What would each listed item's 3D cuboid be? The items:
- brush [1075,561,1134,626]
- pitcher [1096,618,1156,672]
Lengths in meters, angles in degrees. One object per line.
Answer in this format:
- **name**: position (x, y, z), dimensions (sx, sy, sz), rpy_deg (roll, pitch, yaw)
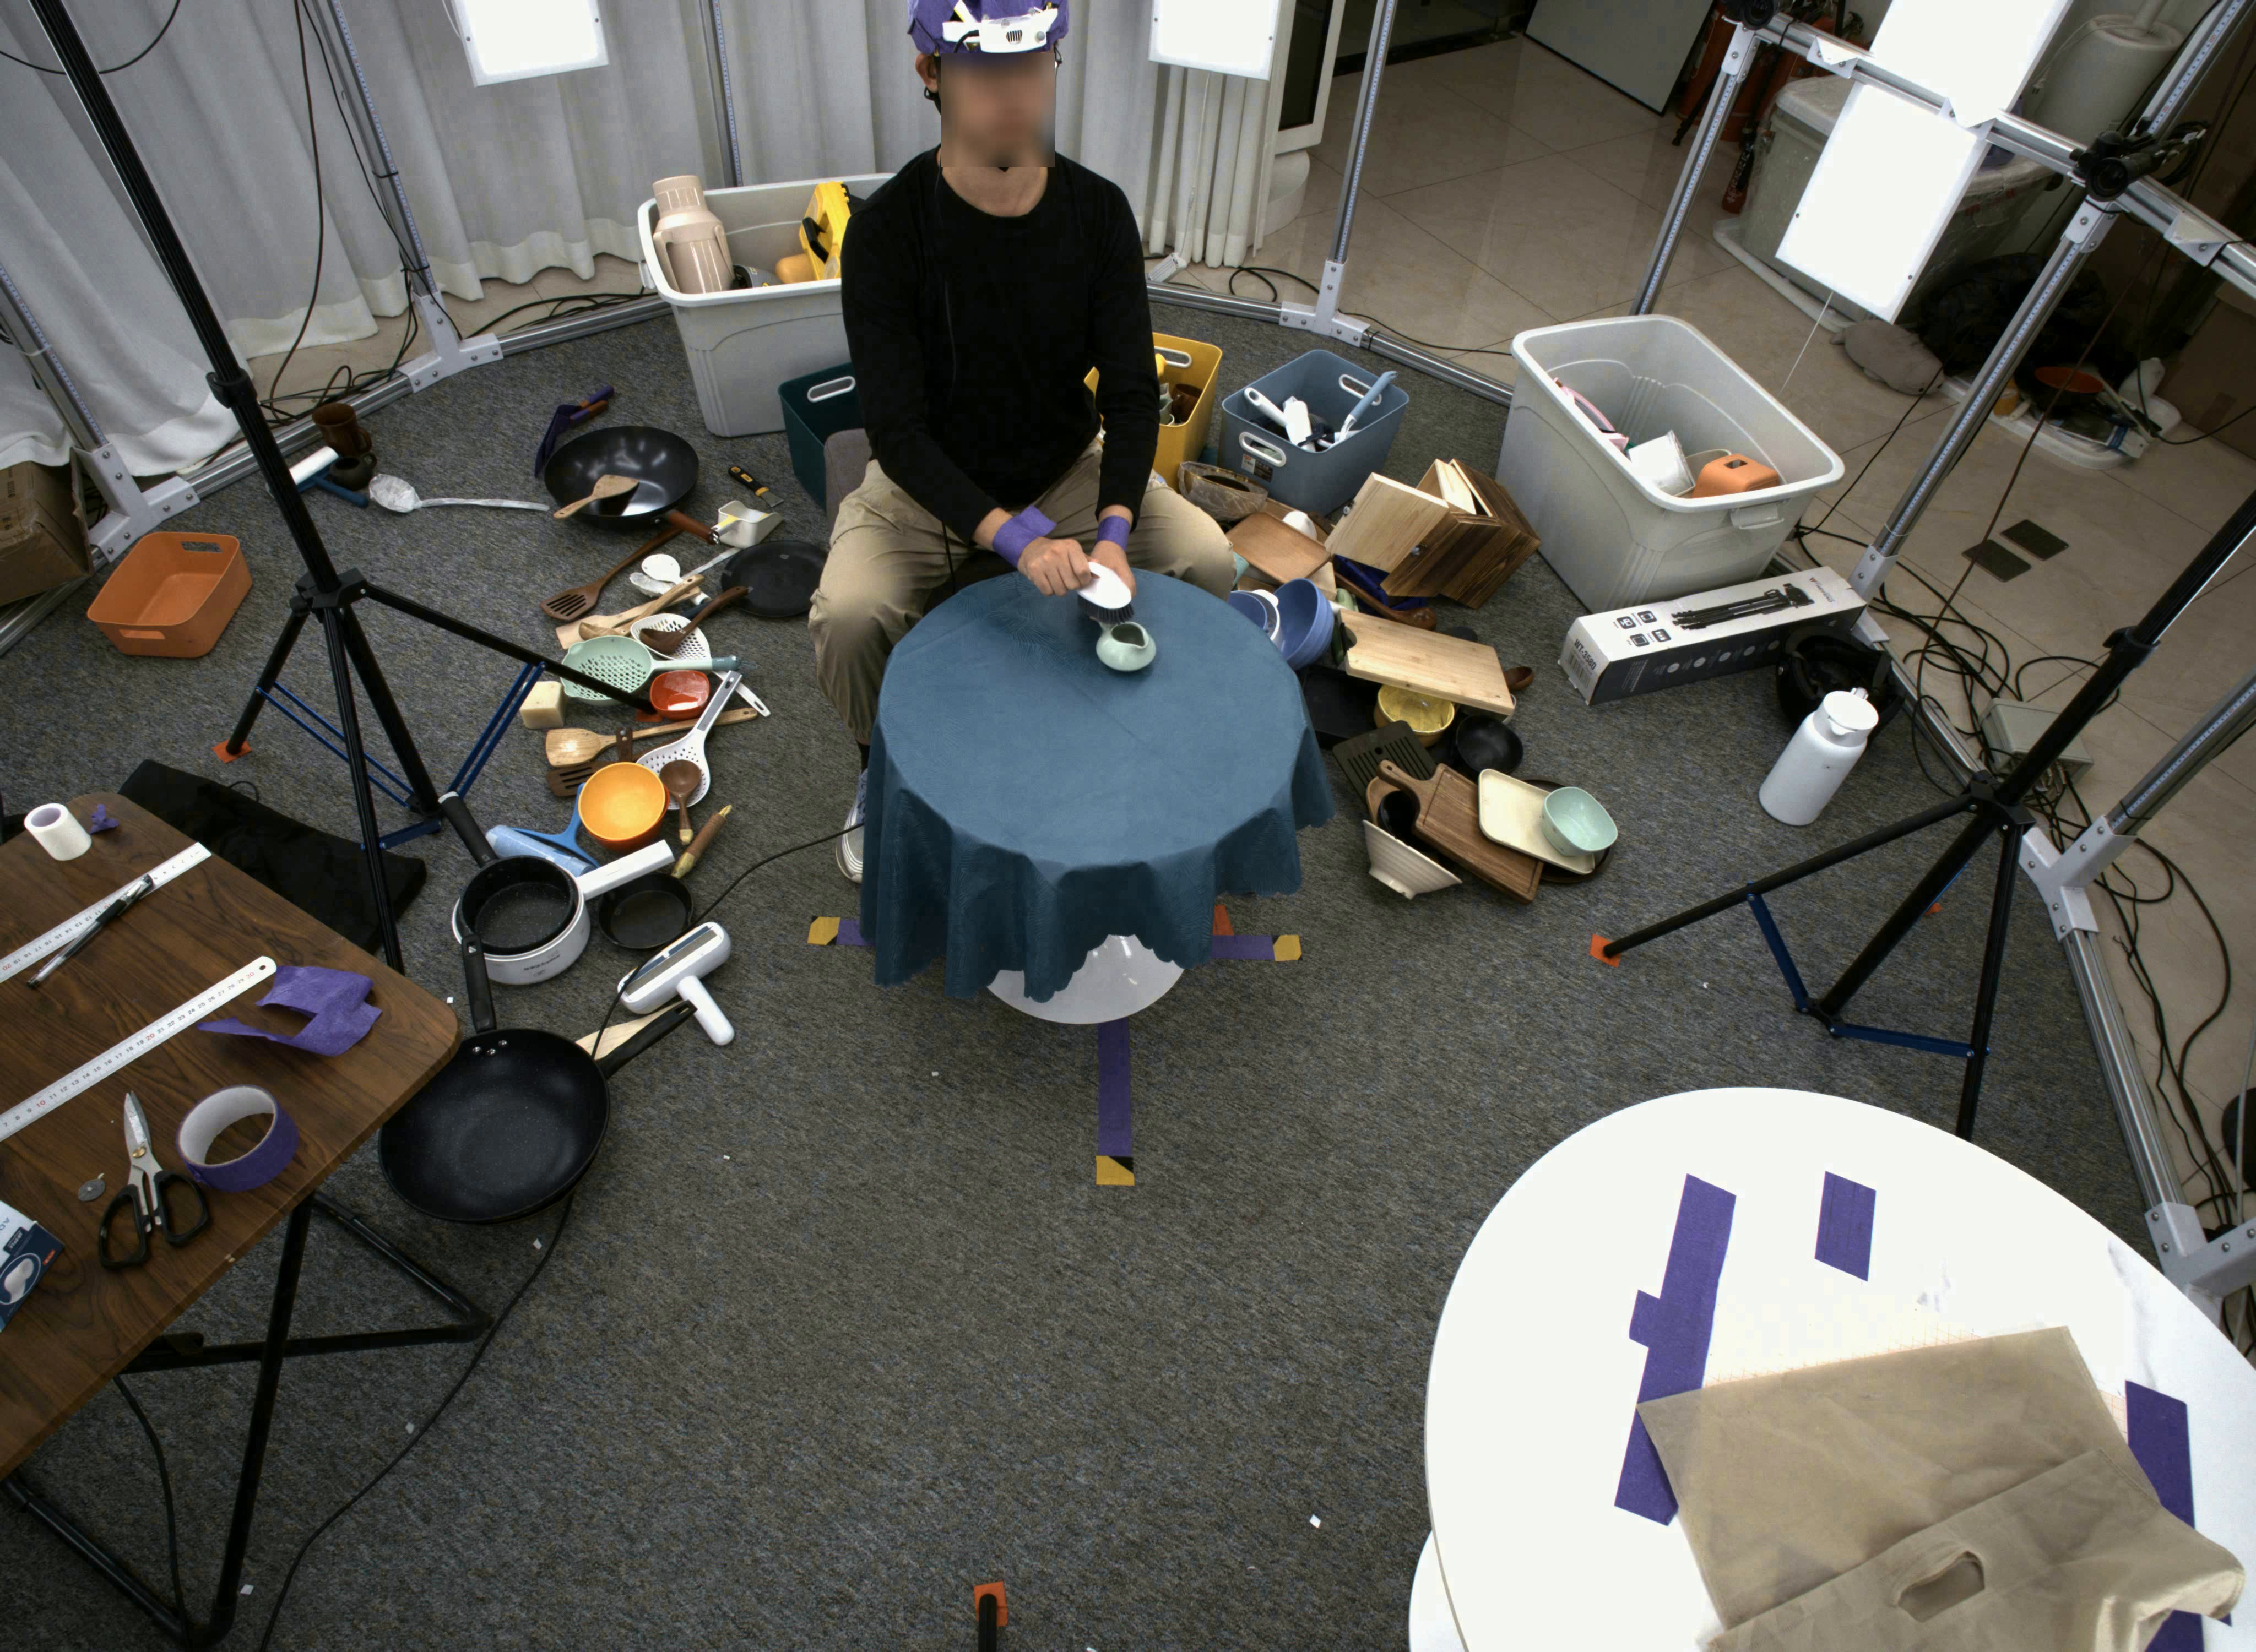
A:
- **brush**: position (-0.037, -0.336, 1.820), dimensions (0.050, 0.071, 0.101), rpy_deg (-35, 48, -22)
- **pitcher**: position (-0.010, -0.269, 1.864), dimensions (0.086, 0.059, 0.110), rpy_deg (-31, 55, -27)
